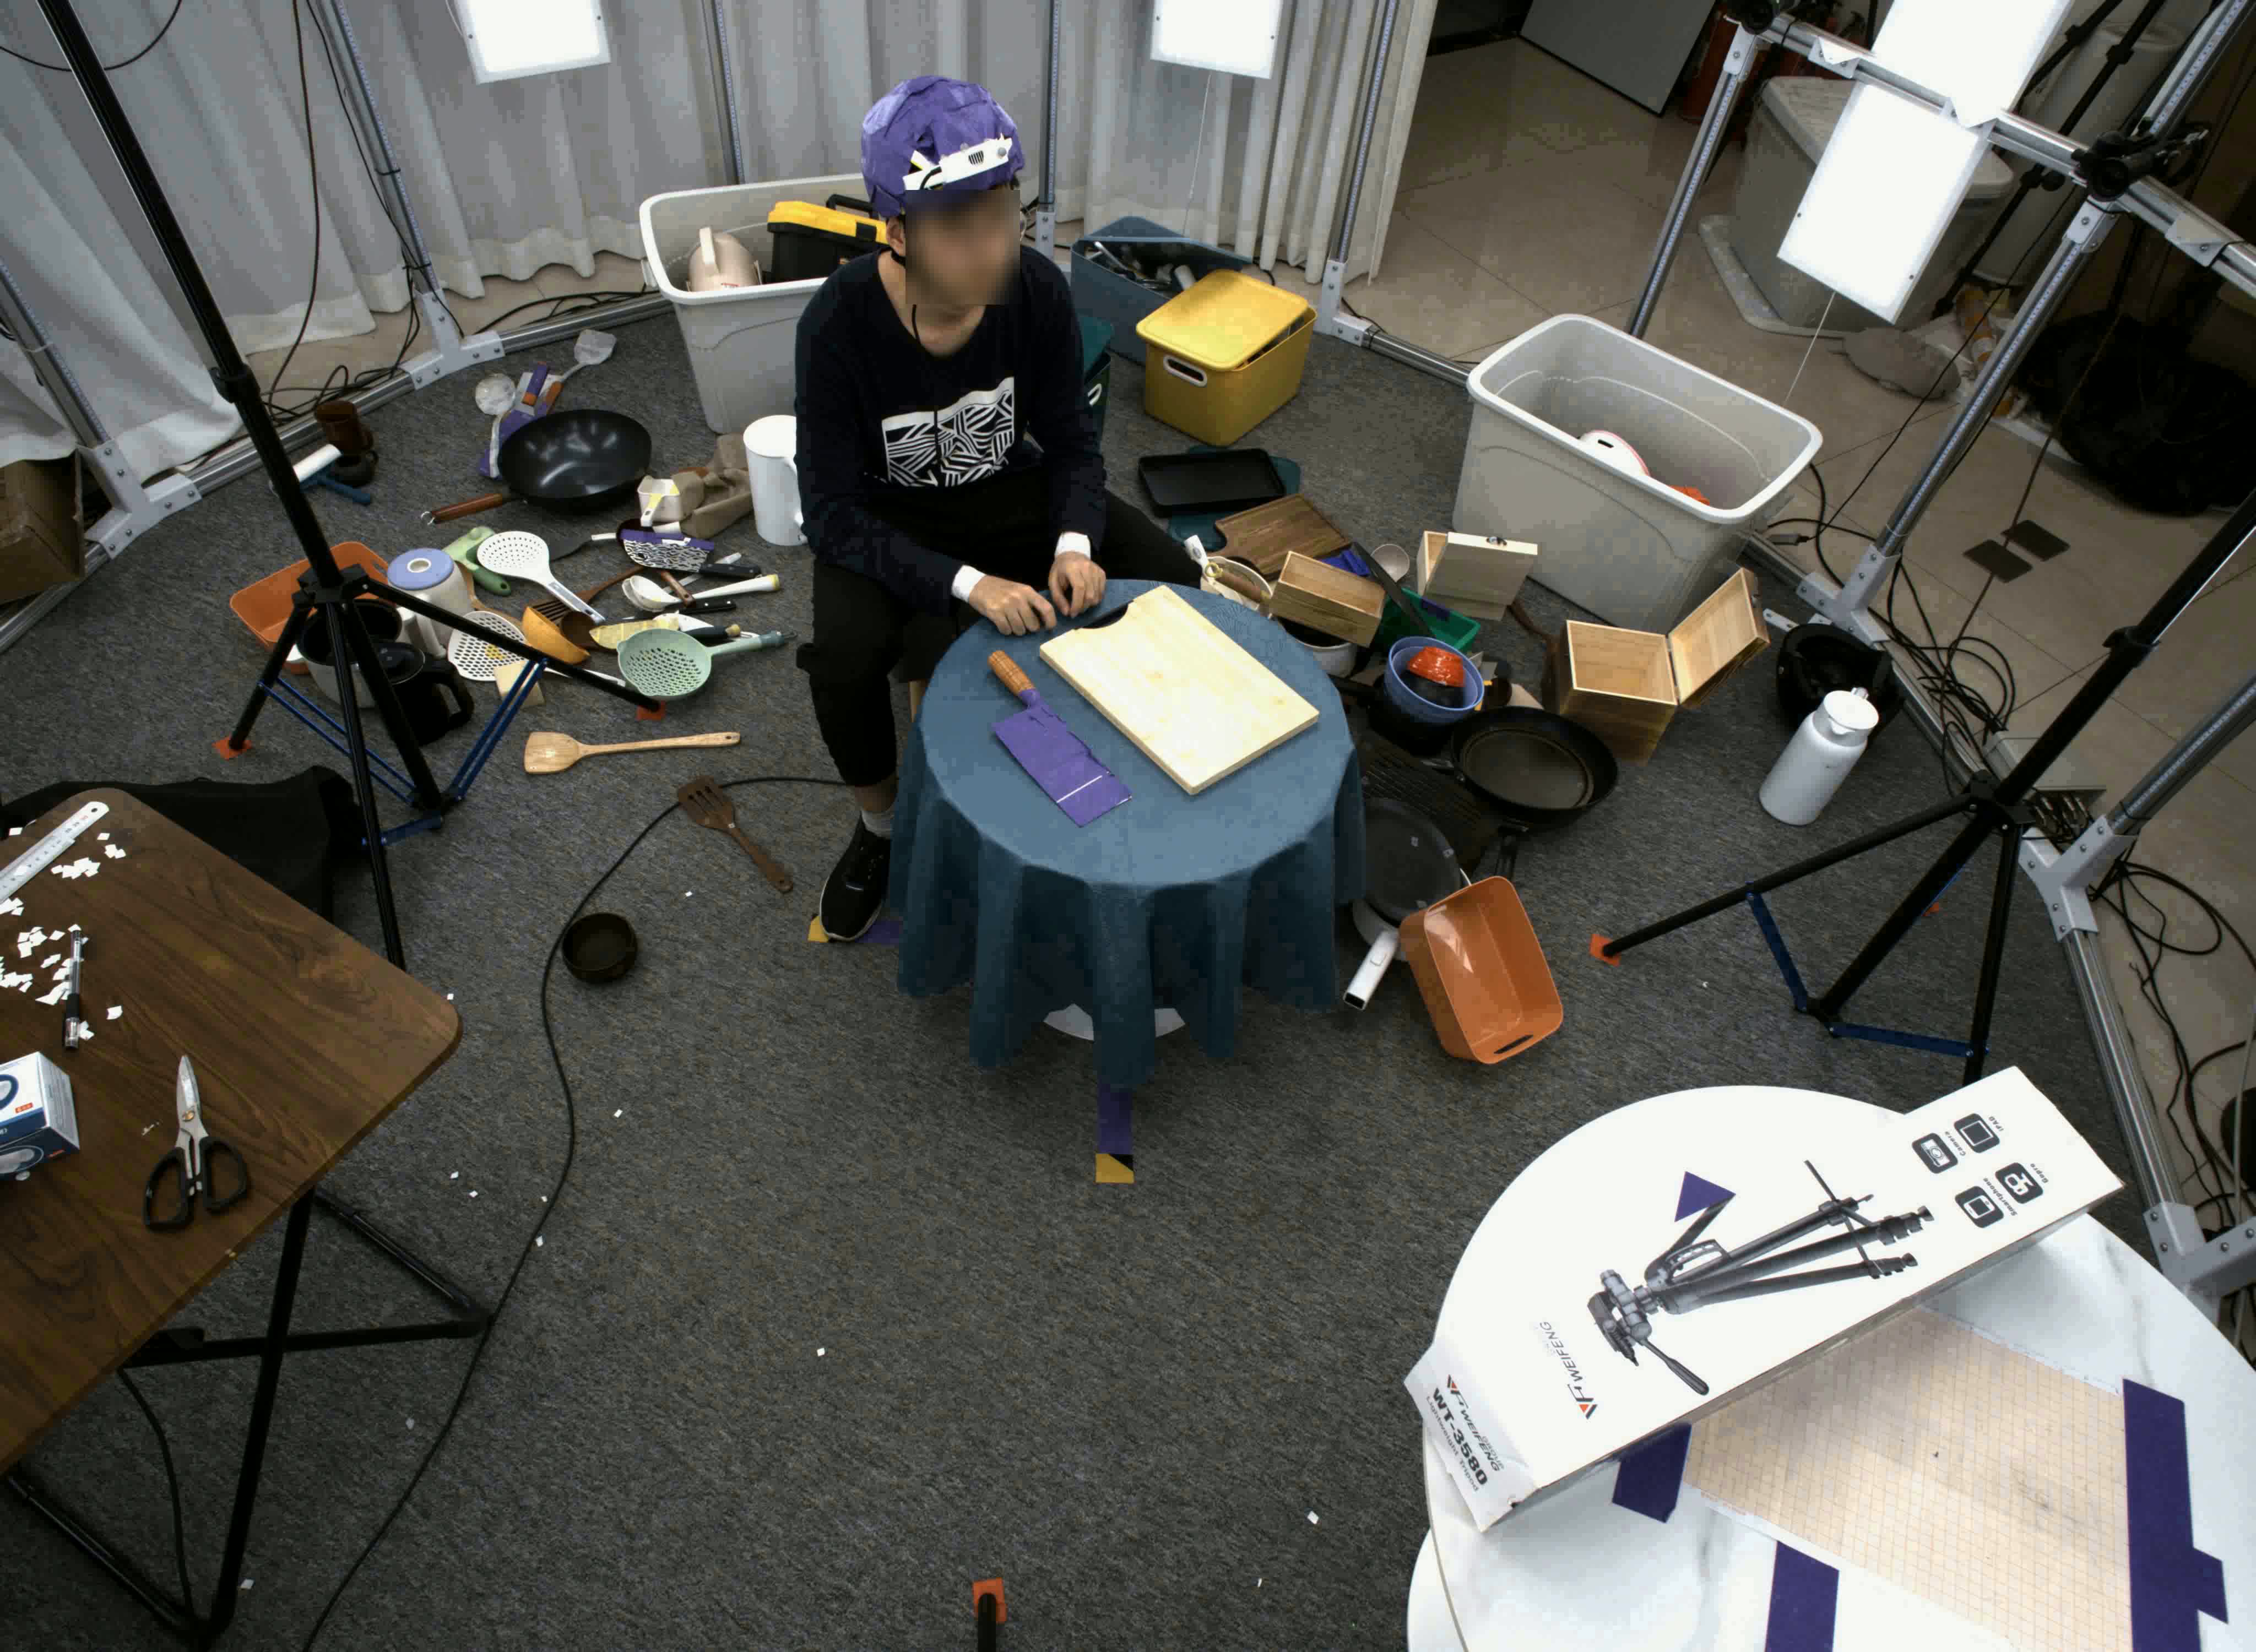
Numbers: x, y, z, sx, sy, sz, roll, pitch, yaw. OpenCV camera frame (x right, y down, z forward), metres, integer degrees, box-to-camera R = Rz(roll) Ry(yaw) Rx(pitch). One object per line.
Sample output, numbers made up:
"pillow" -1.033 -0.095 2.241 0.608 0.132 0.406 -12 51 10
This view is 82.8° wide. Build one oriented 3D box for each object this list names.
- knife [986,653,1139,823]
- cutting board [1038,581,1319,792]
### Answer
"knife" -0.119 -0.124 1.749 0.104 0.031 0.321 -29 57 -26
"cutting board" 0.068 -0.209 1.842 0.252 0.023 0.355 -30 57 -27
